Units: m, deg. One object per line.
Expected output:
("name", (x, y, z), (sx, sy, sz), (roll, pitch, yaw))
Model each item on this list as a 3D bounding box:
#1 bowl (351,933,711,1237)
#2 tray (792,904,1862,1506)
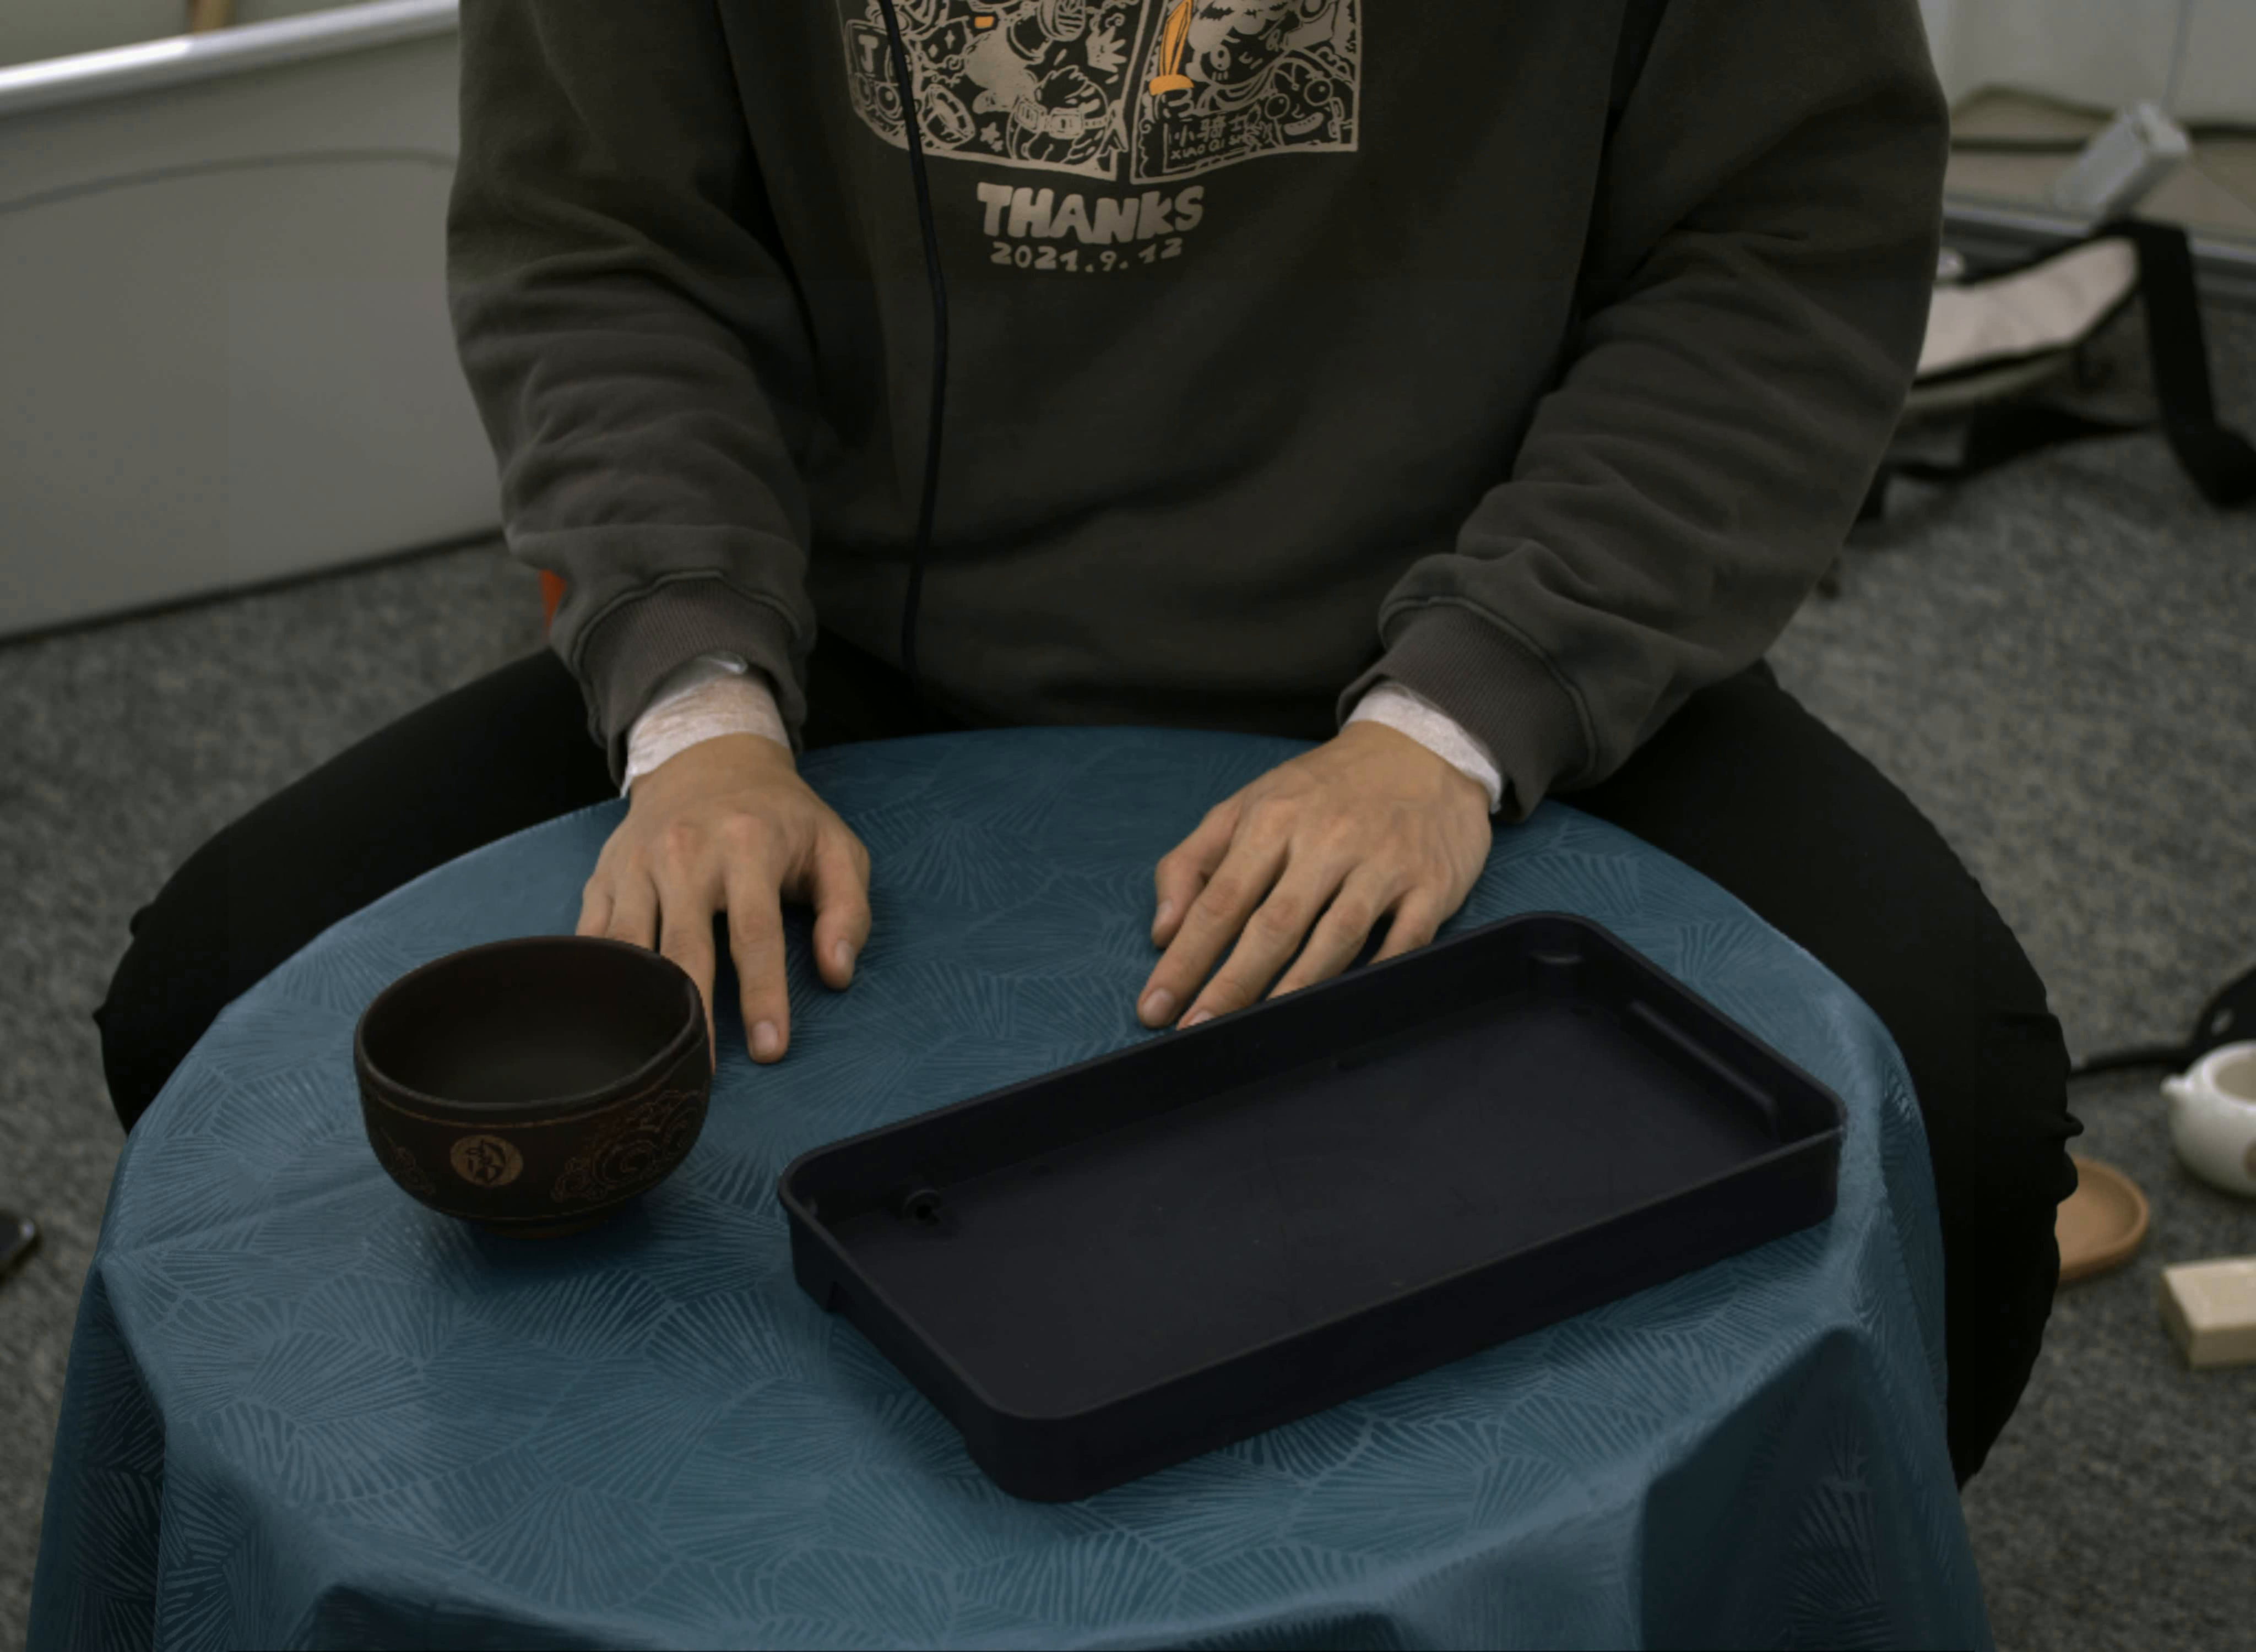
("bowl", (-0.195, 0.093, 1.859), (0.117, 0.069, 0.120), (-3, 26, 2))
("tray", (0.065, 0.117, 1.825), (0.320, 0.036, 0.185), (-19, 31, -27))
